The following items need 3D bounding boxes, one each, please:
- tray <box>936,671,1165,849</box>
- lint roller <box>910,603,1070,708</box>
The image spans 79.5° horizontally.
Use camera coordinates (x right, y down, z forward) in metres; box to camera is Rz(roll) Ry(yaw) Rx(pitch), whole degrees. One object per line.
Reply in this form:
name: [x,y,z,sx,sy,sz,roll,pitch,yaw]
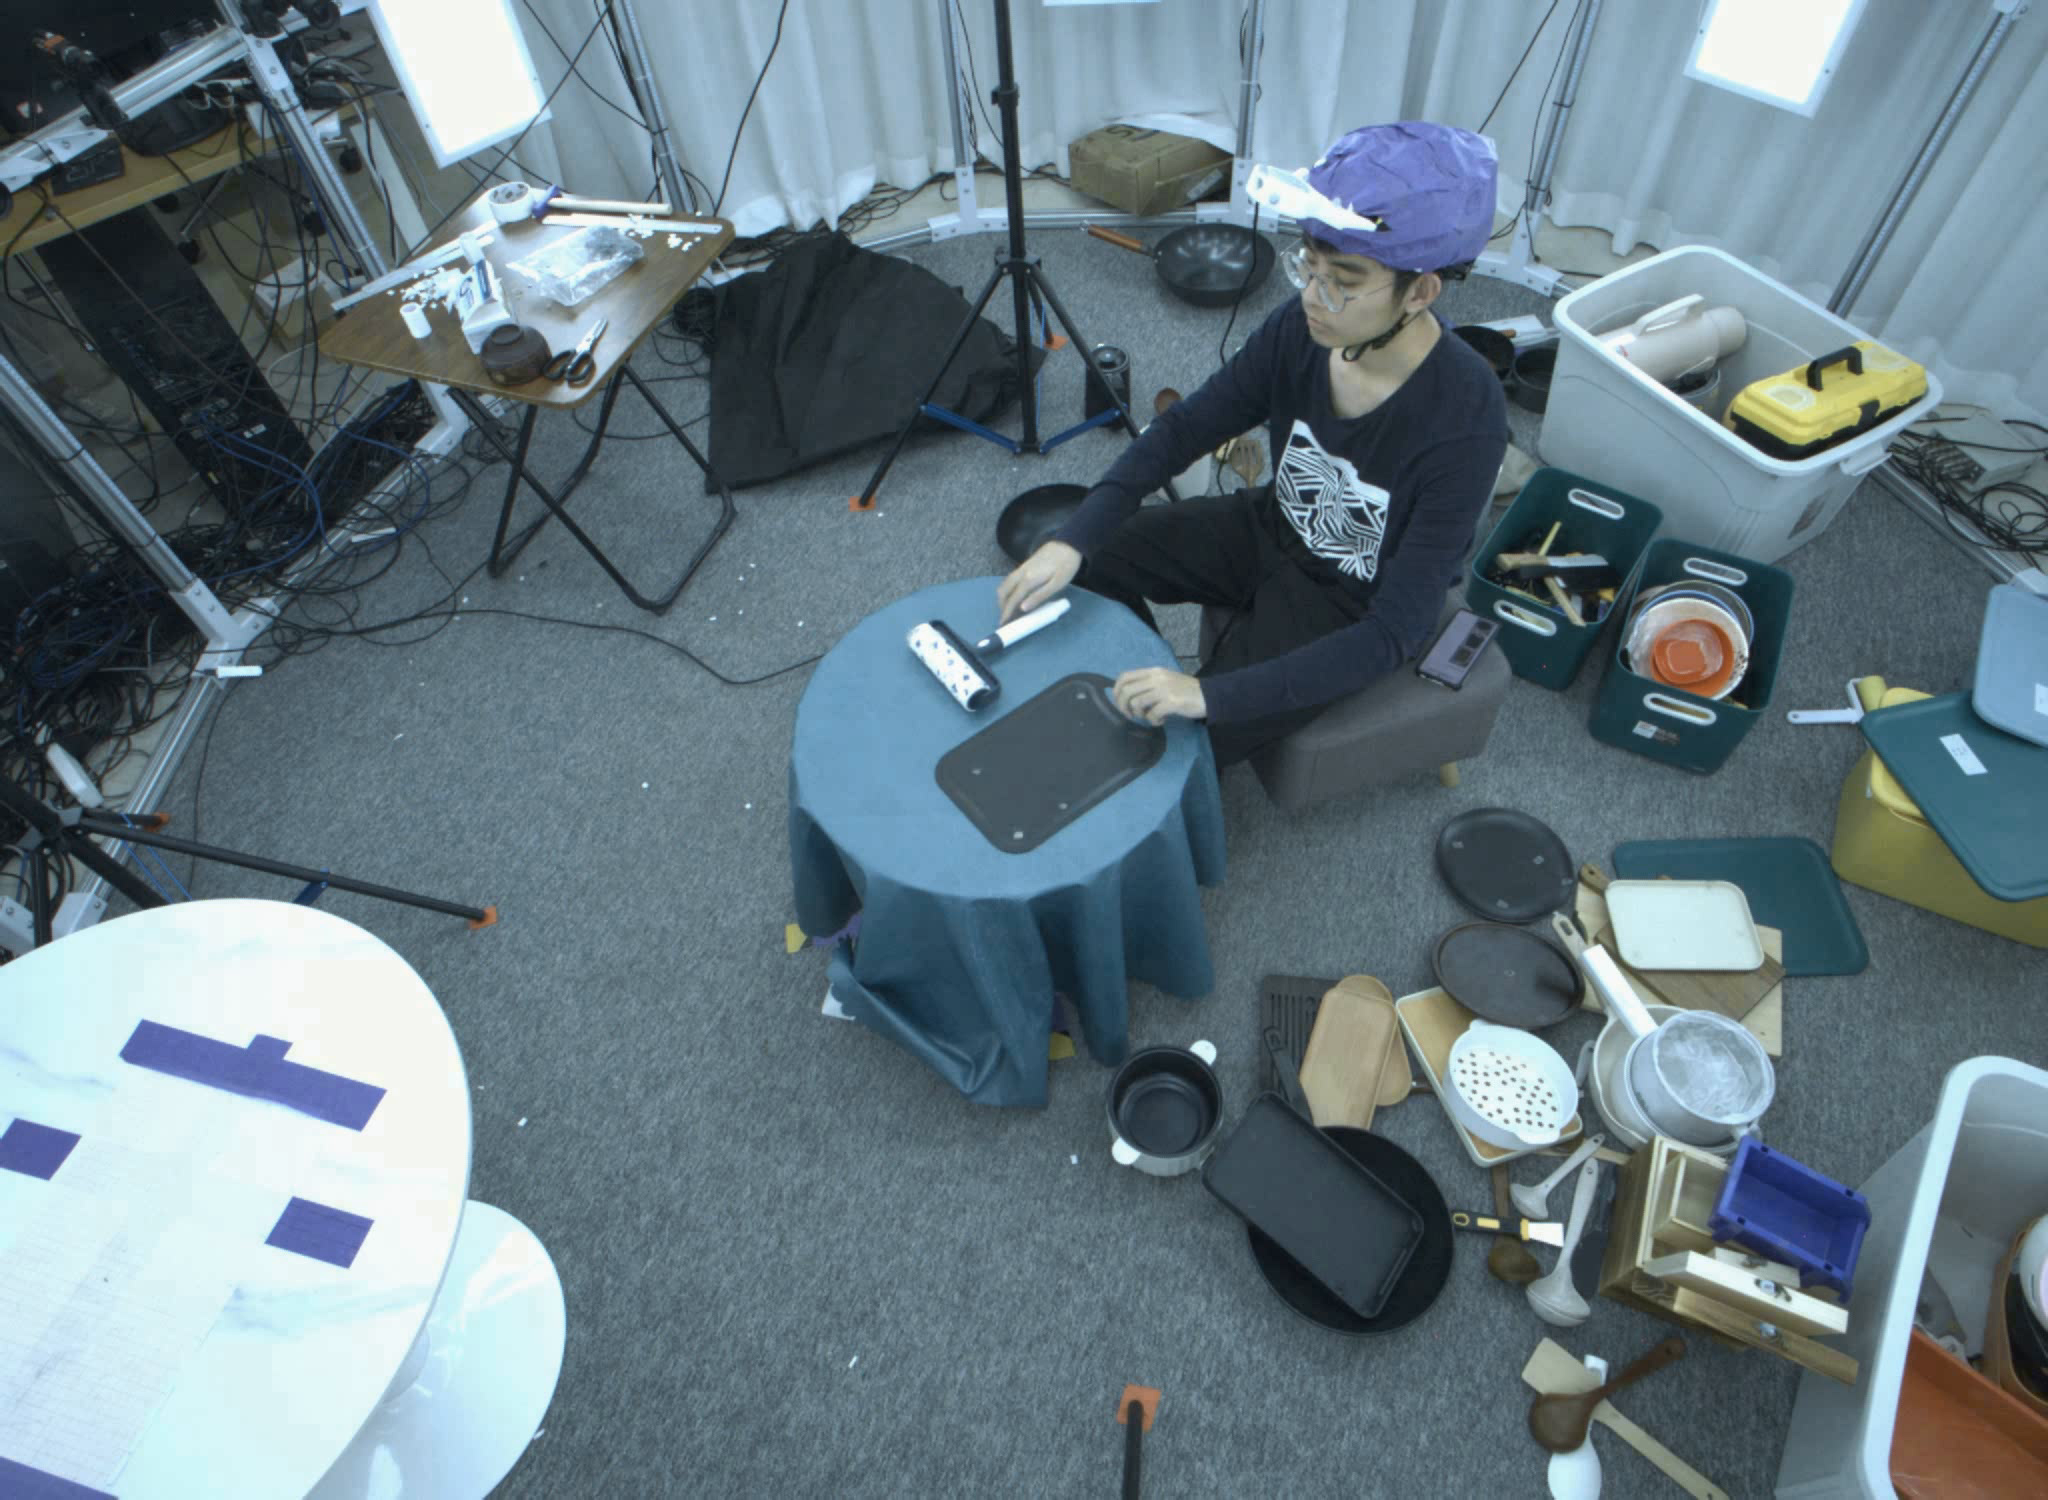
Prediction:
tray: [0.045,0.003,1.787,0.328,0.010,0.207,-33,60,-20]
lint roller: [-0.033,-0.176,1.897,0.249,0.051,0.173,-30,58,-22]
